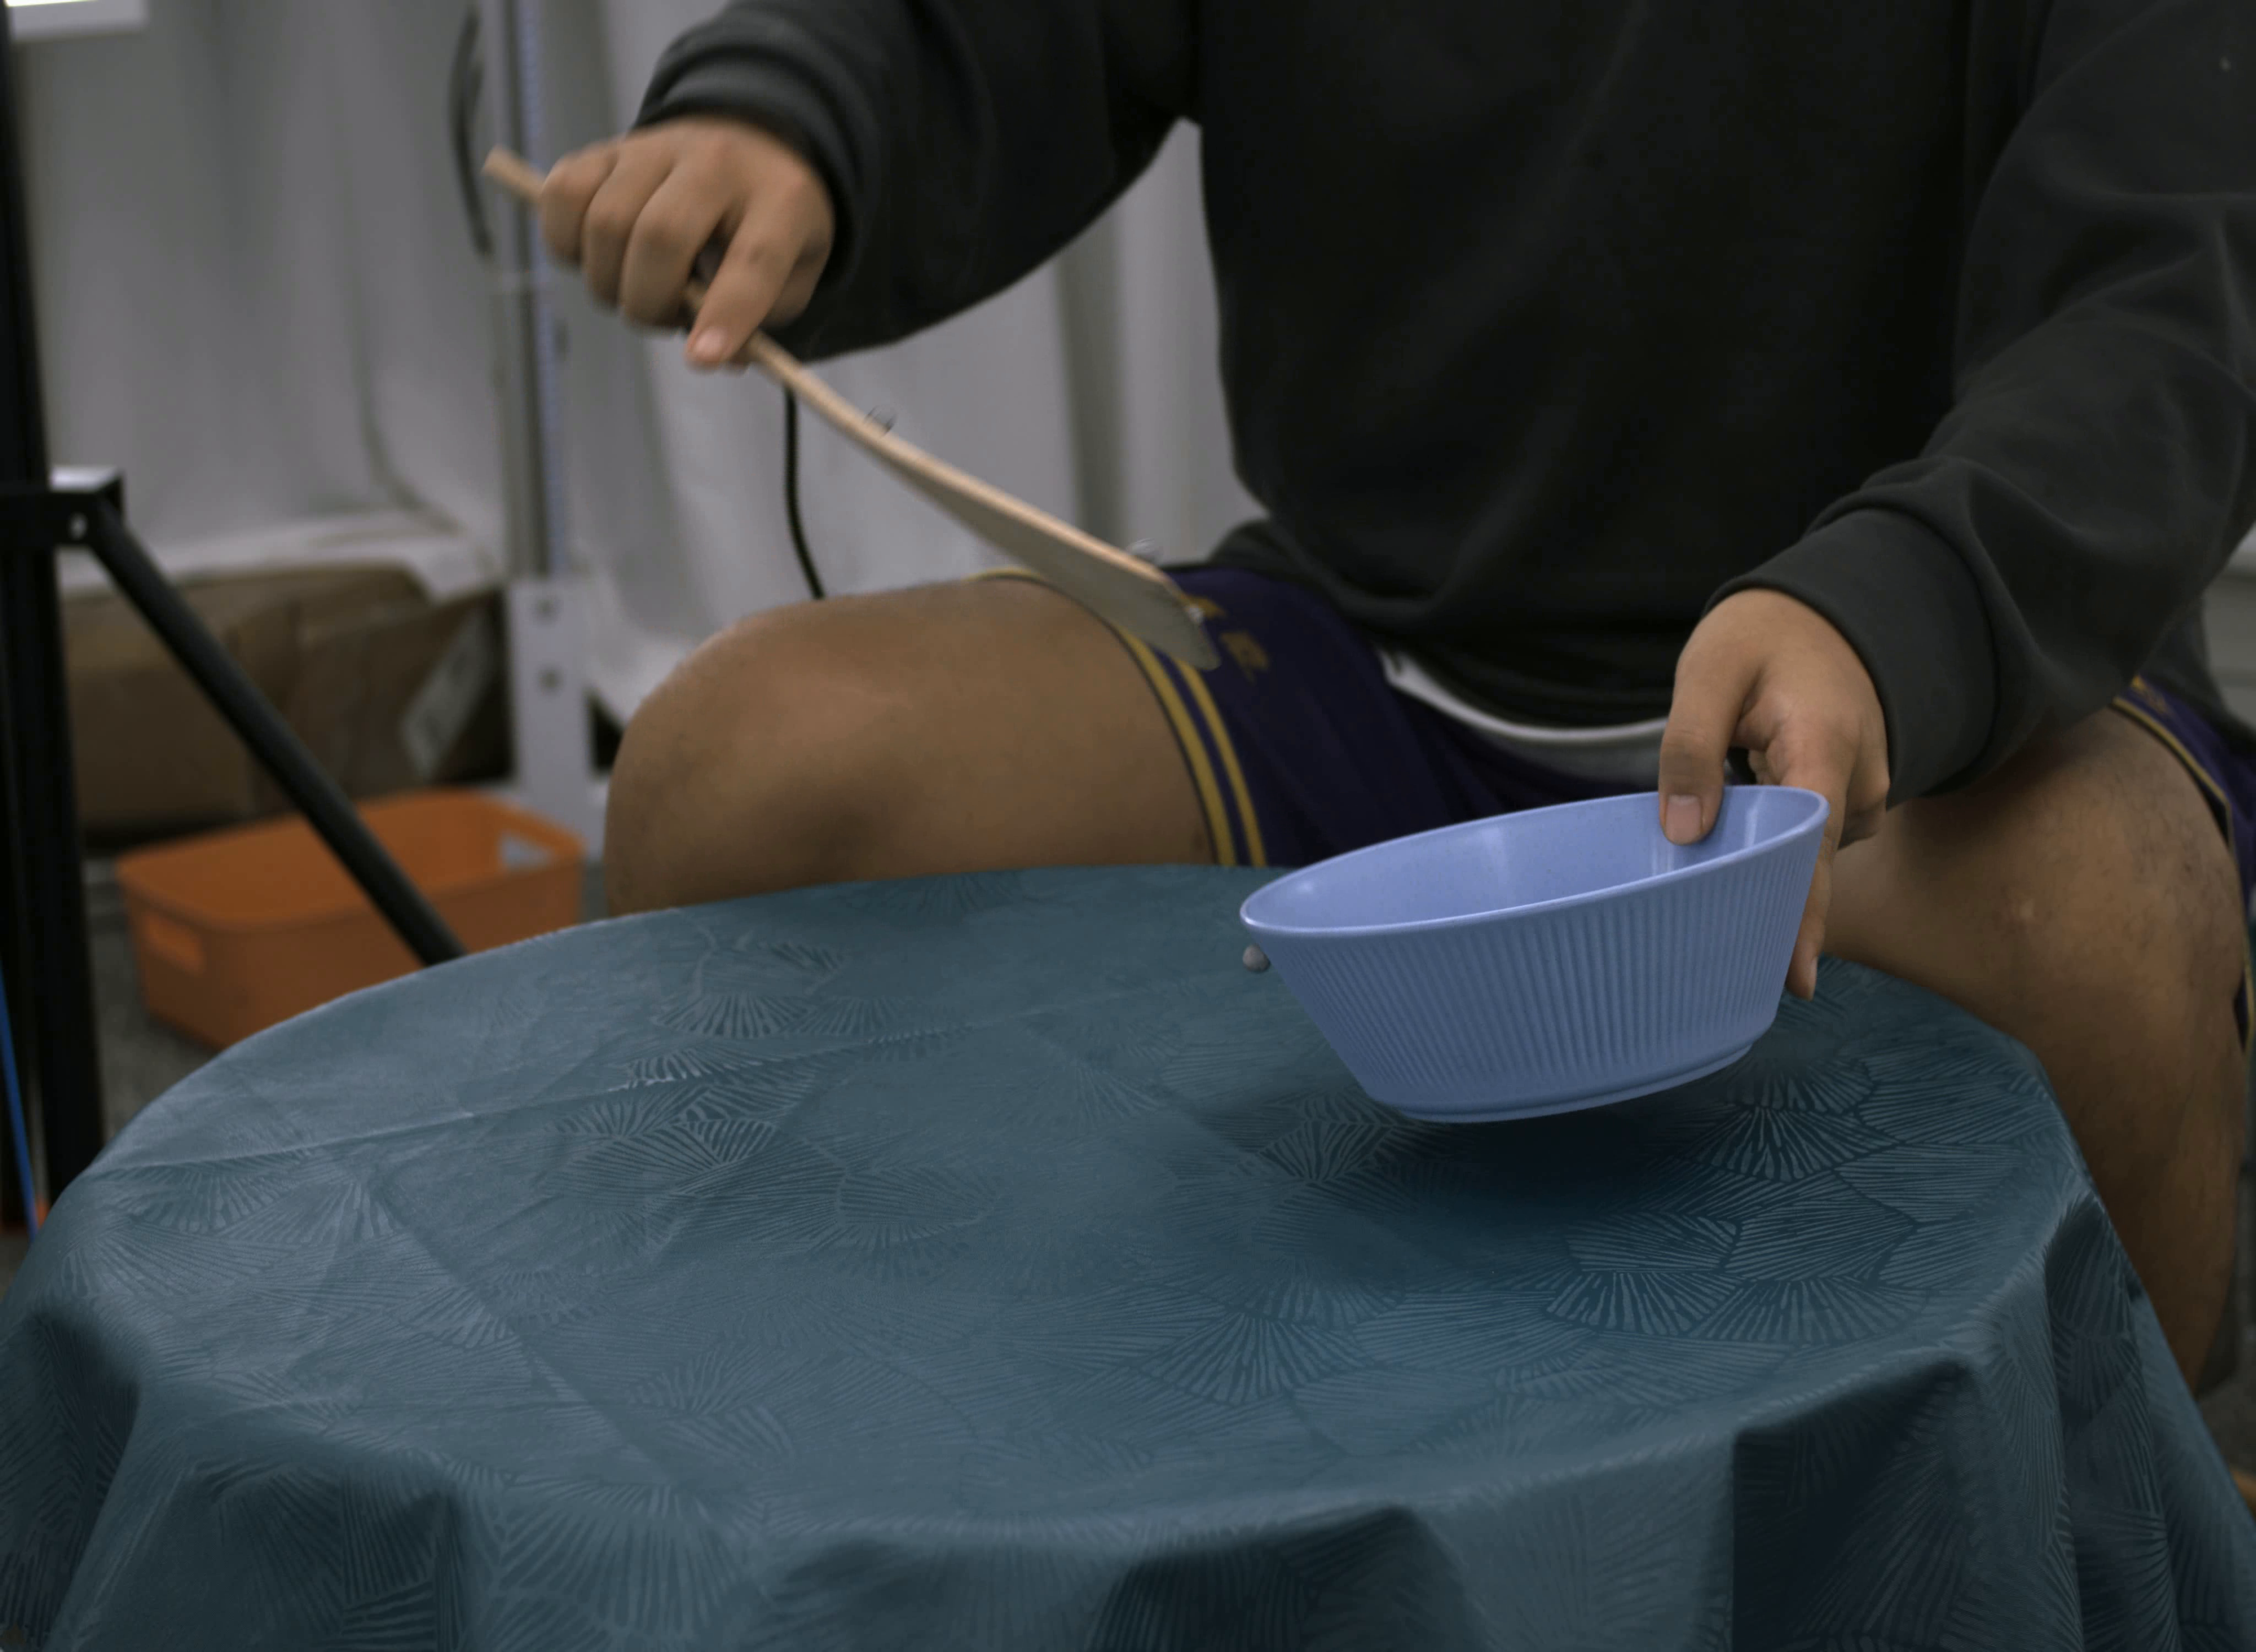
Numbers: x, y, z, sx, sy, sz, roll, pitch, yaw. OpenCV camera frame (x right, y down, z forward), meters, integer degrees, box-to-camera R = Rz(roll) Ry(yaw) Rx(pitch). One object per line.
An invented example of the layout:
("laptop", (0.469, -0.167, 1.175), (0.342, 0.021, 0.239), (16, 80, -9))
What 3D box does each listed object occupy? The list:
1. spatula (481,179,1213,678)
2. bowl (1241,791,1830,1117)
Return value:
("spatula", (-0.092, -0.127, 1.630), (0.335, 0.016, 0.078), (36, -6, 36))
("bowl", (0.125, 0.040, 1.565), (0.175, 0.070, 0.176), (-10, 8, 0))
